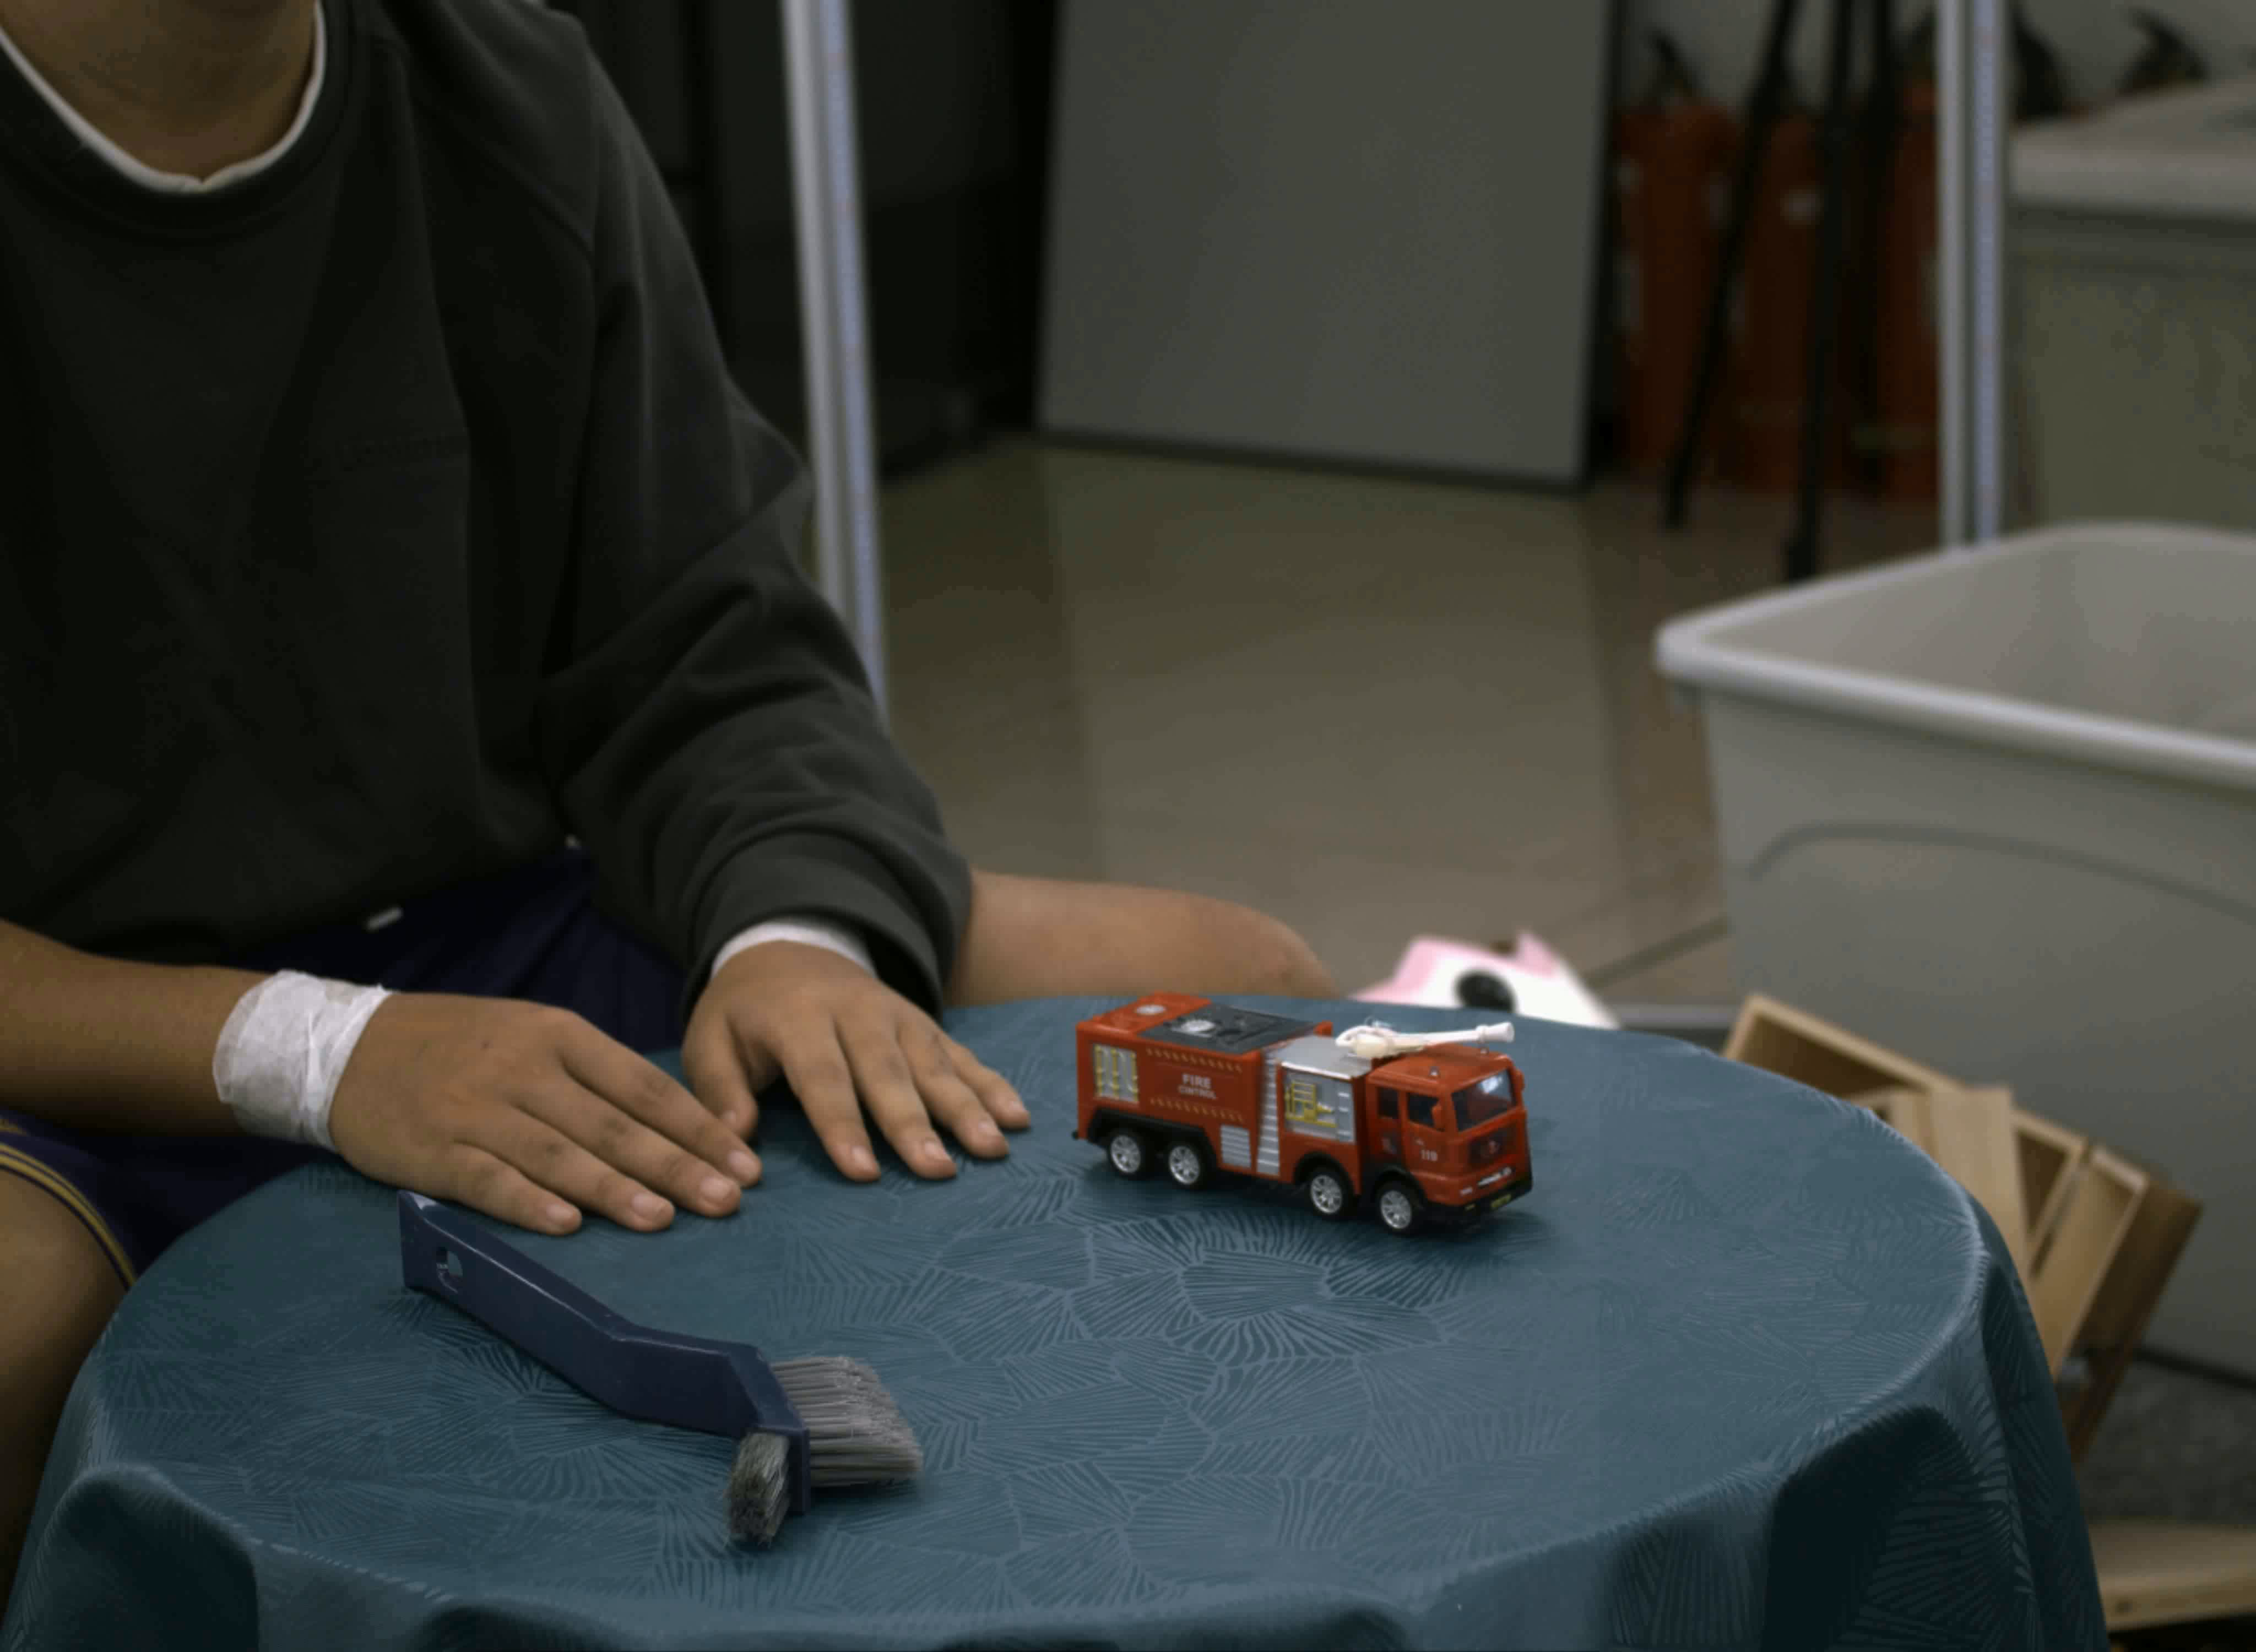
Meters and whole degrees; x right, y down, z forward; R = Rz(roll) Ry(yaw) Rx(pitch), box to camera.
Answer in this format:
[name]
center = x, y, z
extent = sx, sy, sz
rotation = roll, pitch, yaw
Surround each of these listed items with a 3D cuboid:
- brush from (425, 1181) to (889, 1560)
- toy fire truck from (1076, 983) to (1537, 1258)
[brush]
center = -0.160, 0.157, 1.602
extent = 0.093, 0.034, 0.276
rotation = -16, 18, -35
[toy fire truck]
center = 0.057, 0.092, 1.748
extent = 0.169, 0.071, 0.053
rotation = 7, 17, 41
